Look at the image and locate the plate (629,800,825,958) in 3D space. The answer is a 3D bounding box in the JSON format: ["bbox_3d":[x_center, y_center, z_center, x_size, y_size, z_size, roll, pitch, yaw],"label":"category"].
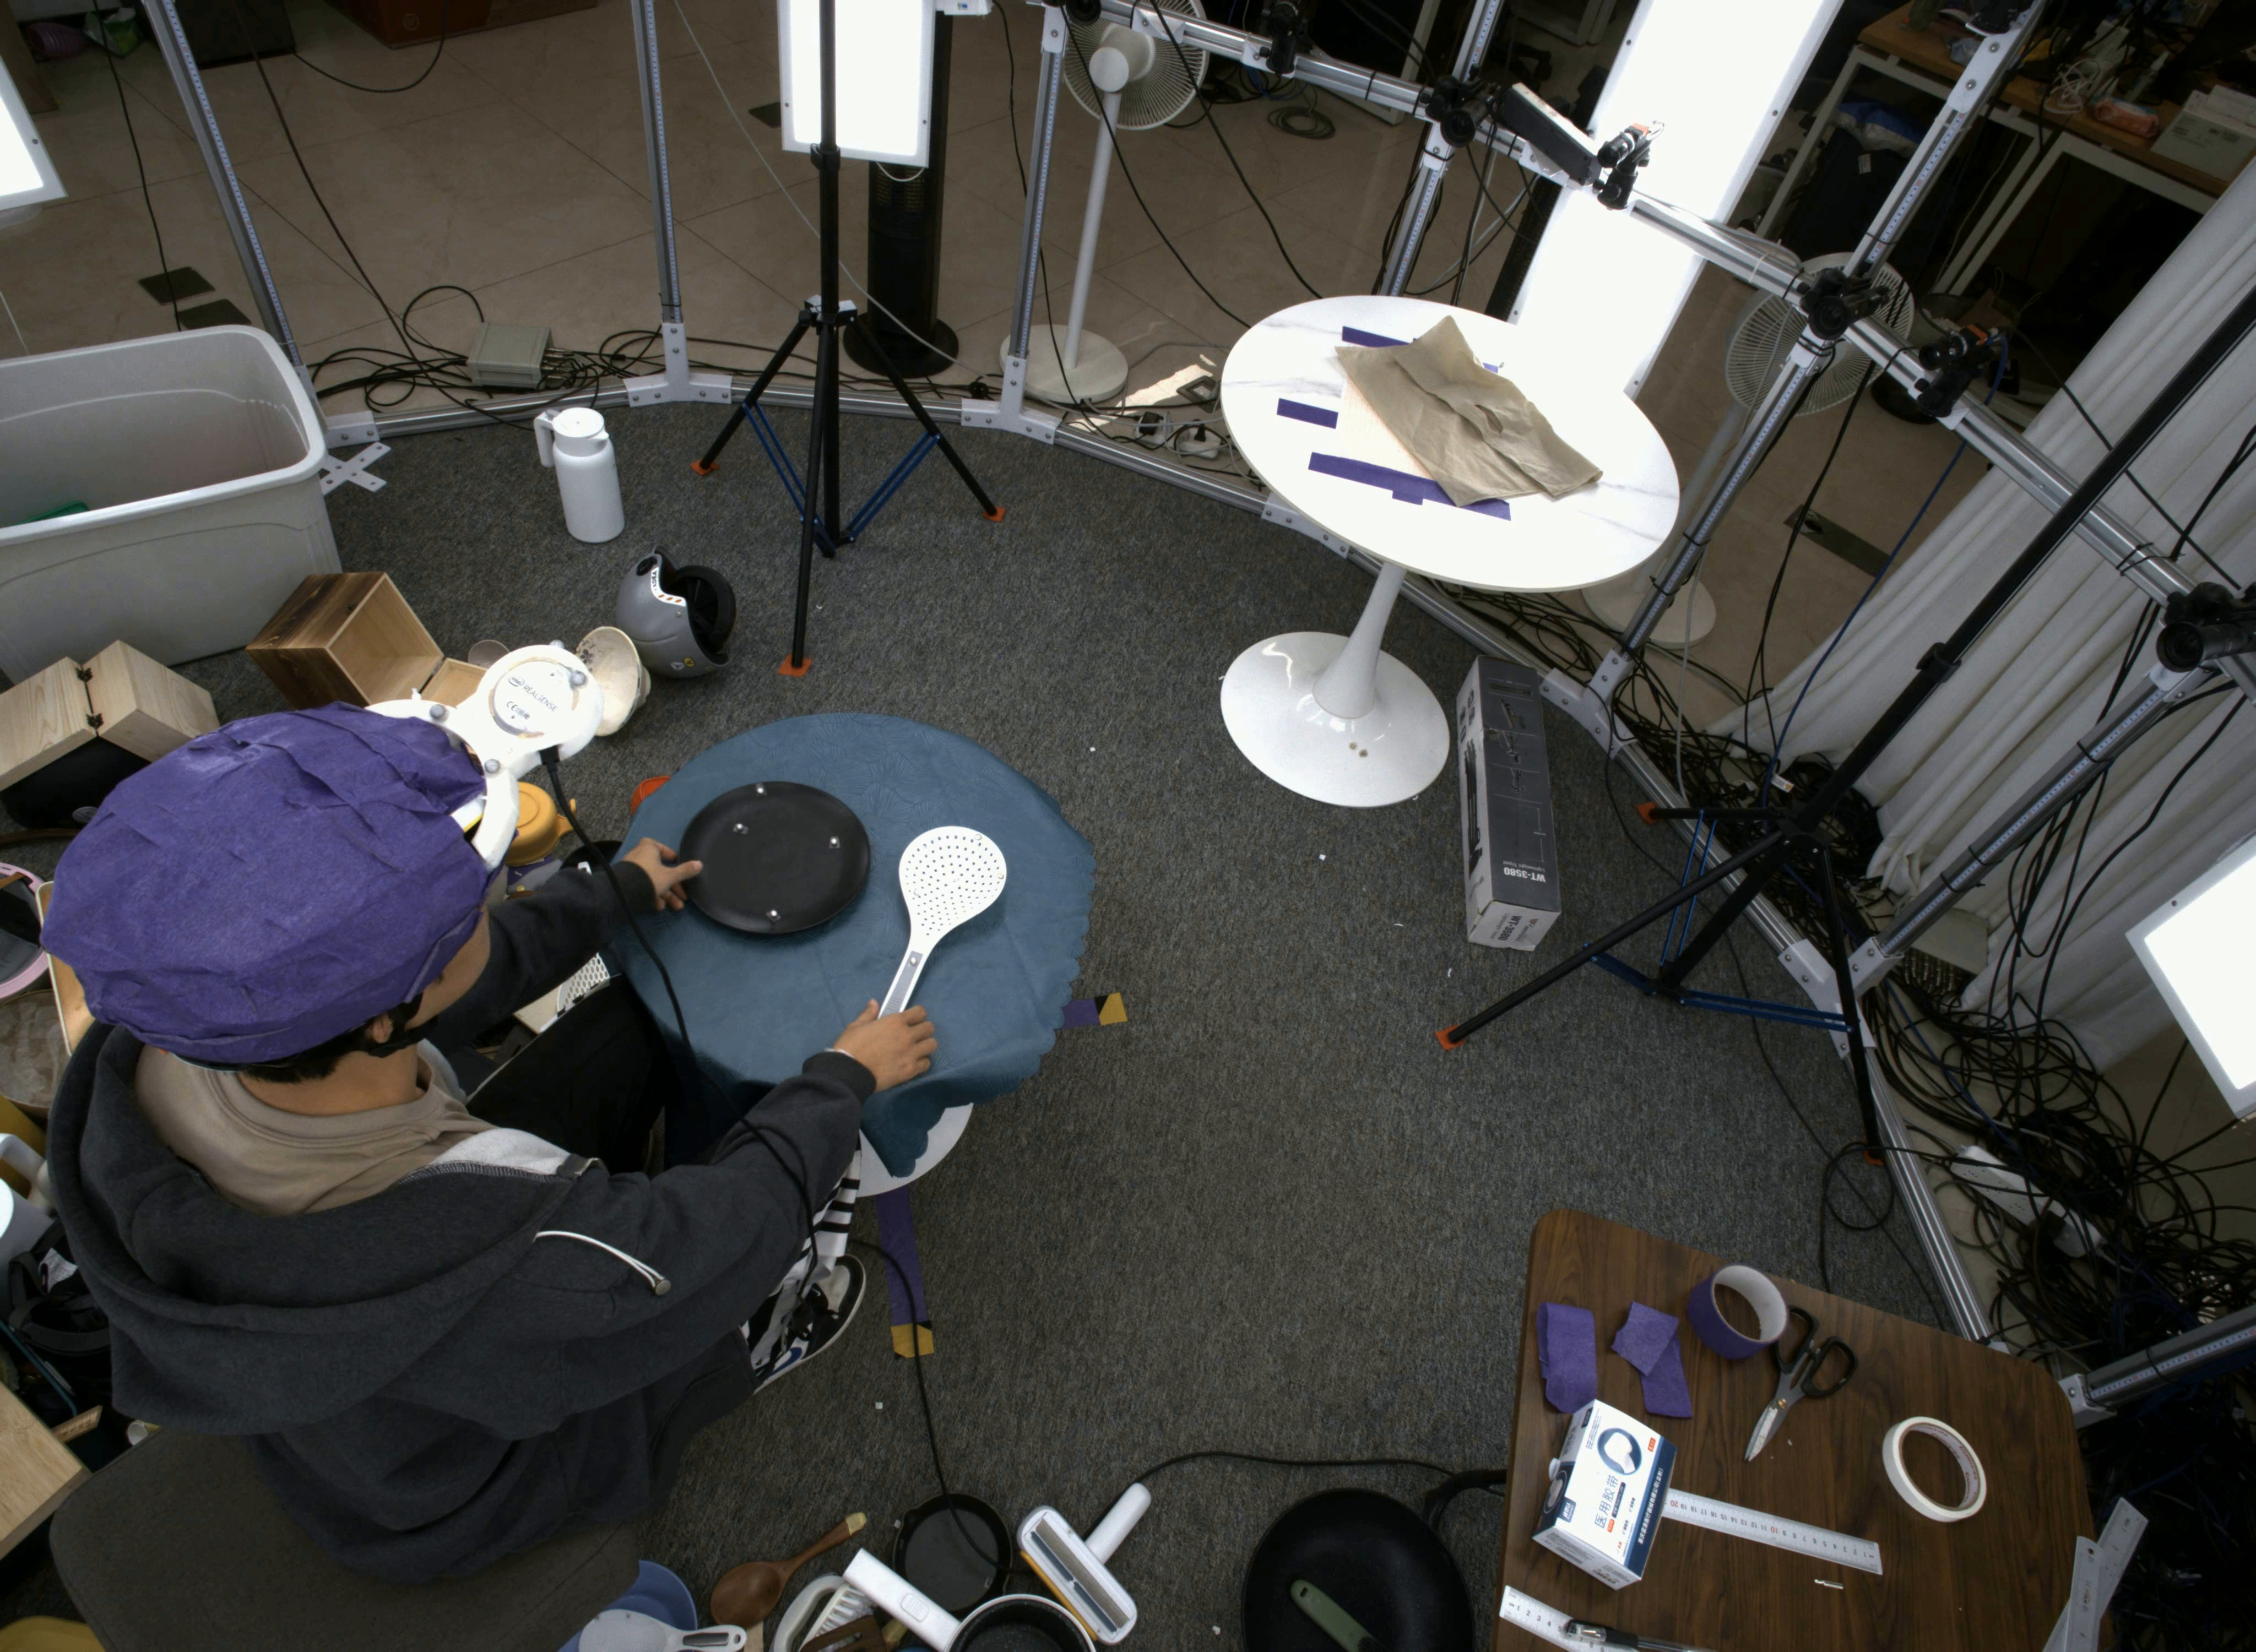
[{"bbox_3d":[-0.509,0.066,1.643,0.244,0.024,0.240,8,52,-9],"label":"plate"}]

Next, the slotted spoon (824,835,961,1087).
[{"bbox_3d":[-0.305,0.159,1.611,0.135,0.047,0.345,15,53,0],"label":"slotted spoon"}]
